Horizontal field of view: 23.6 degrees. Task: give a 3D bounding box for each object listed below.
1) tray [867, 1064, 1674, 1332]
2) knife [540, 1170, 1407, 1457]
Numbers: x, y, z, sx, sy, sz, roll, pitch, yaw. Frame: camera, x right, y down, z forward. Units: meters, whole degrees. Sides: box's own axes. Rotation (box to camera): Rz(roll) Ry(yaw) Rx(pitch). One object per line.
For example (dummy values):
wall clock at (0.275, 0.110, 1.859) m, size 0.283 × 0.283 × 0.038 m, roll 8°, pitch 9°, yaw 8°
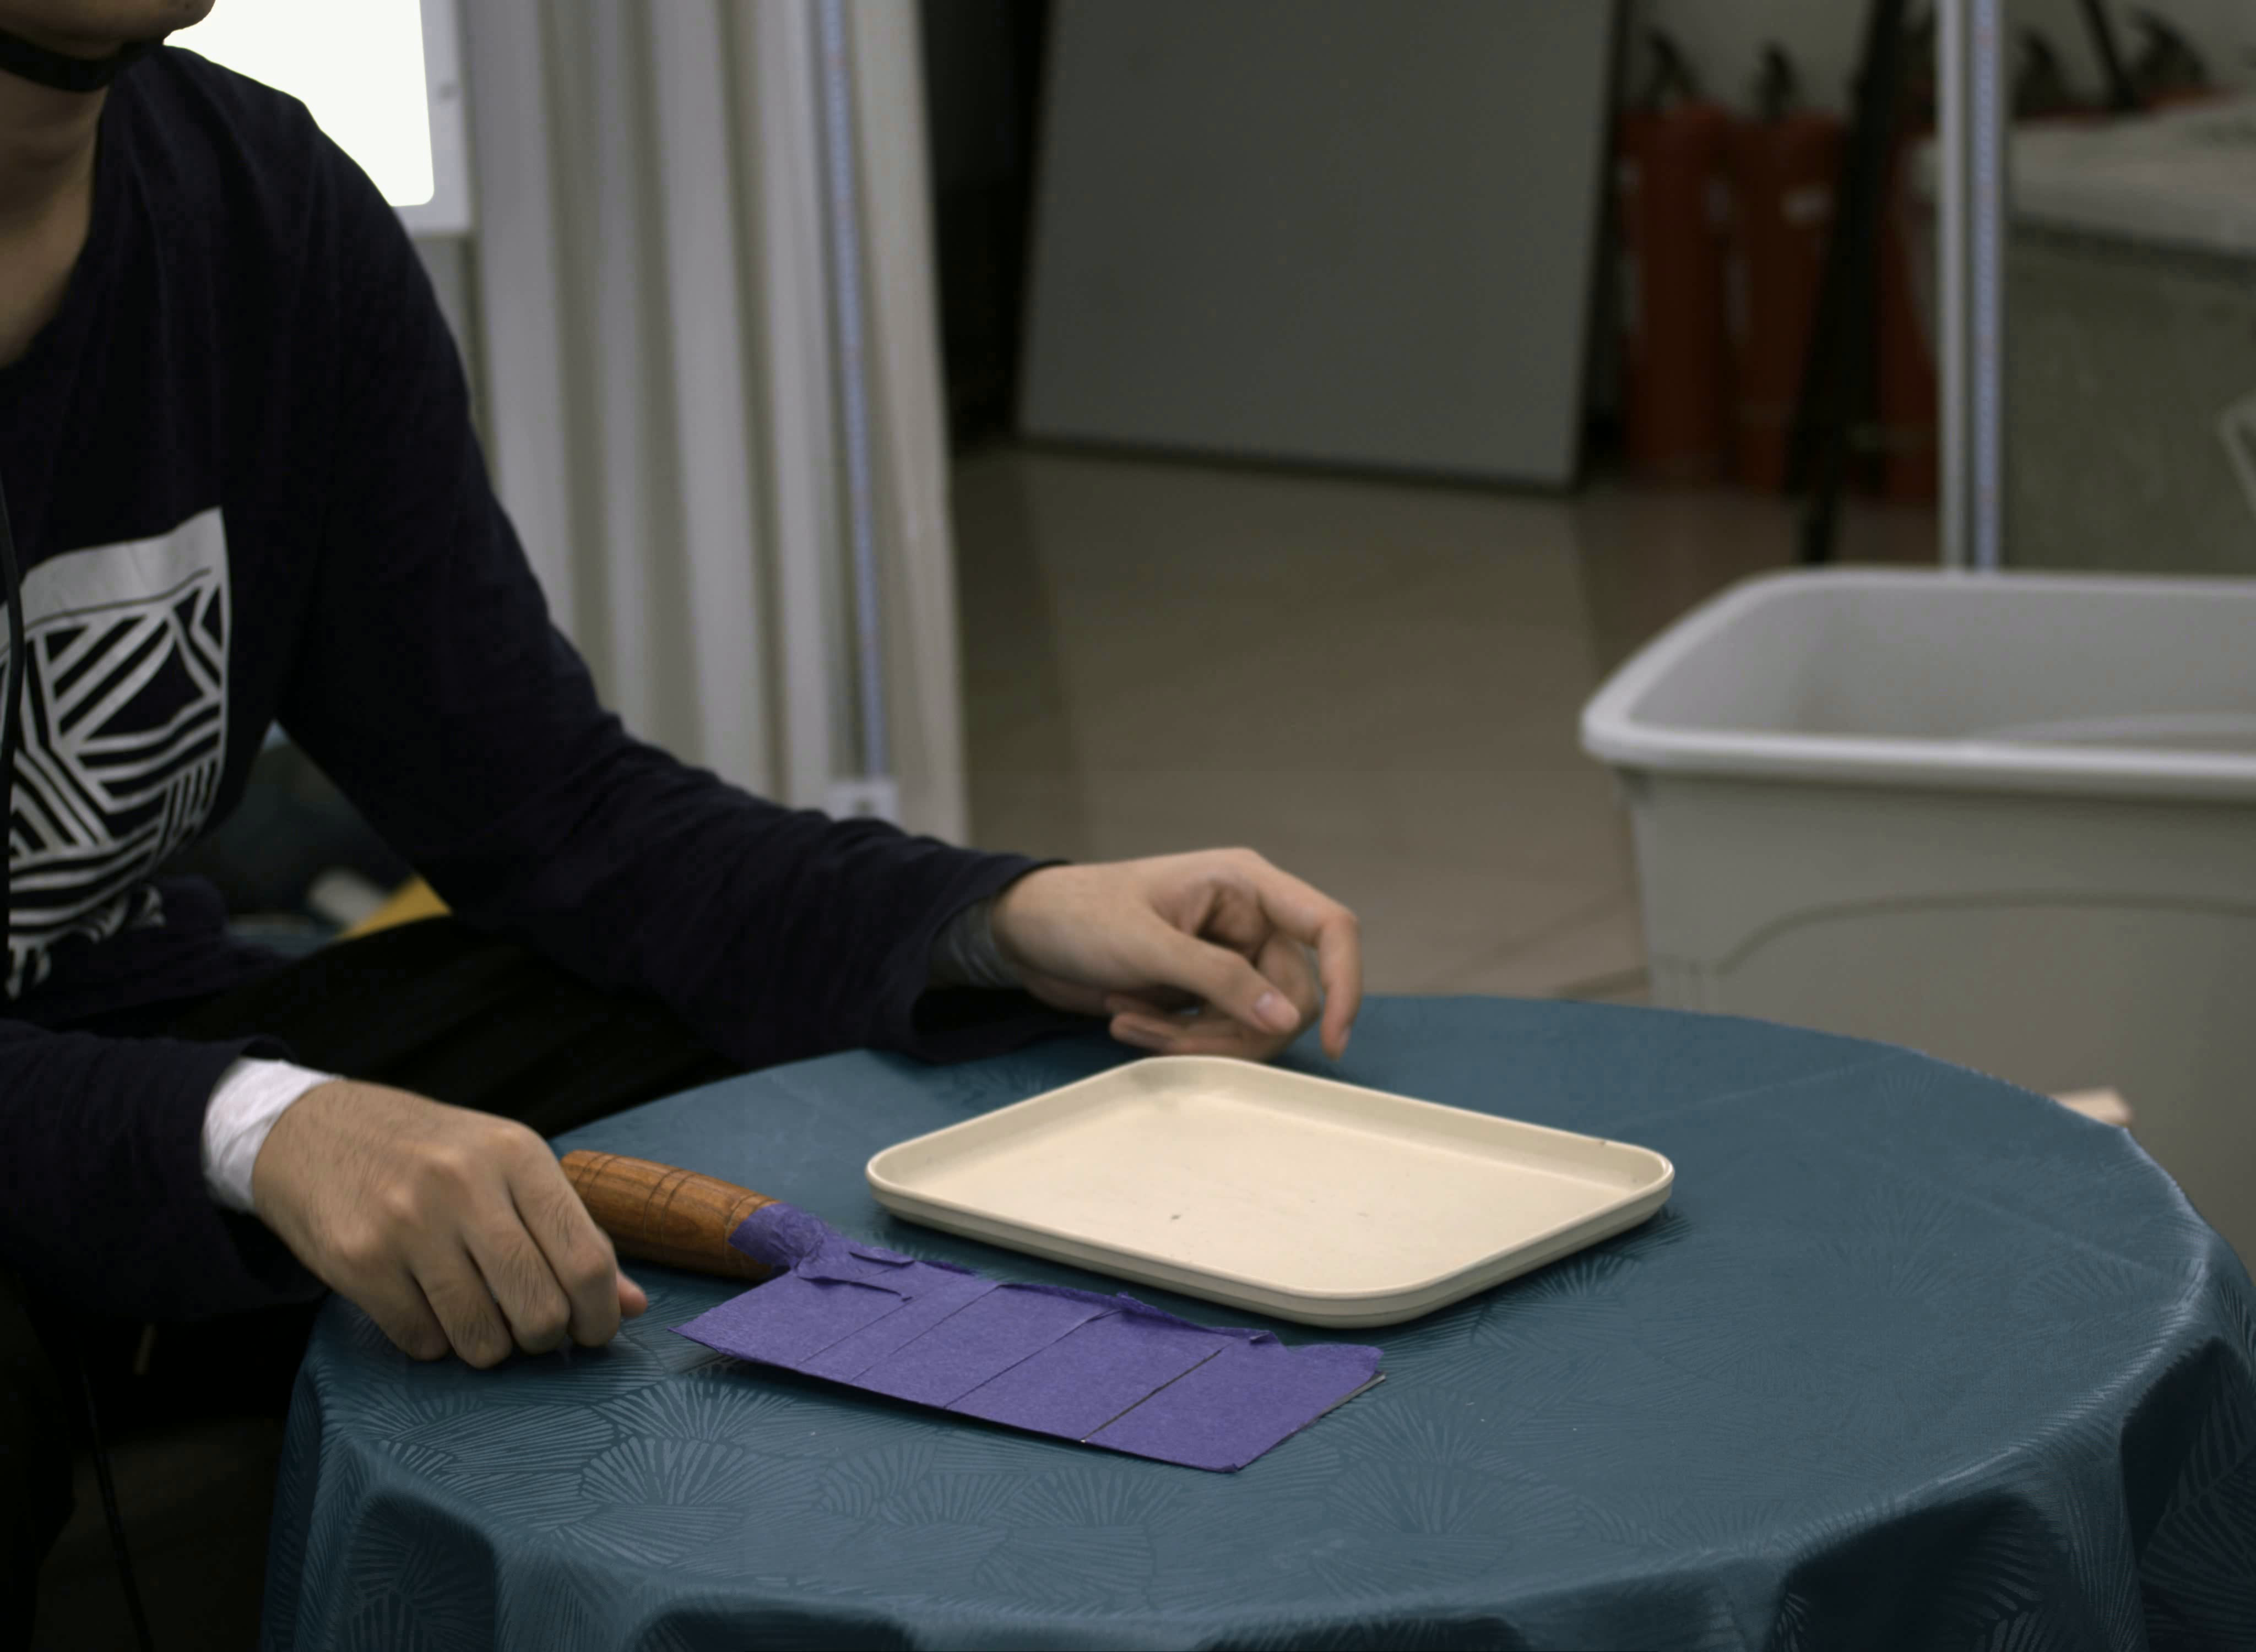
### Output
tray at (0.045, 0.119, 1.736) m, size 0.168 × 0.017 × 0.242 m, roll -17°, pitch 18°, yaw -42°
knife at (-0.071, 0.146, 1.636) m, size 0.317 × 0.032 × 0.102 m, roll 6°, pitch 16°, yaw 35°
